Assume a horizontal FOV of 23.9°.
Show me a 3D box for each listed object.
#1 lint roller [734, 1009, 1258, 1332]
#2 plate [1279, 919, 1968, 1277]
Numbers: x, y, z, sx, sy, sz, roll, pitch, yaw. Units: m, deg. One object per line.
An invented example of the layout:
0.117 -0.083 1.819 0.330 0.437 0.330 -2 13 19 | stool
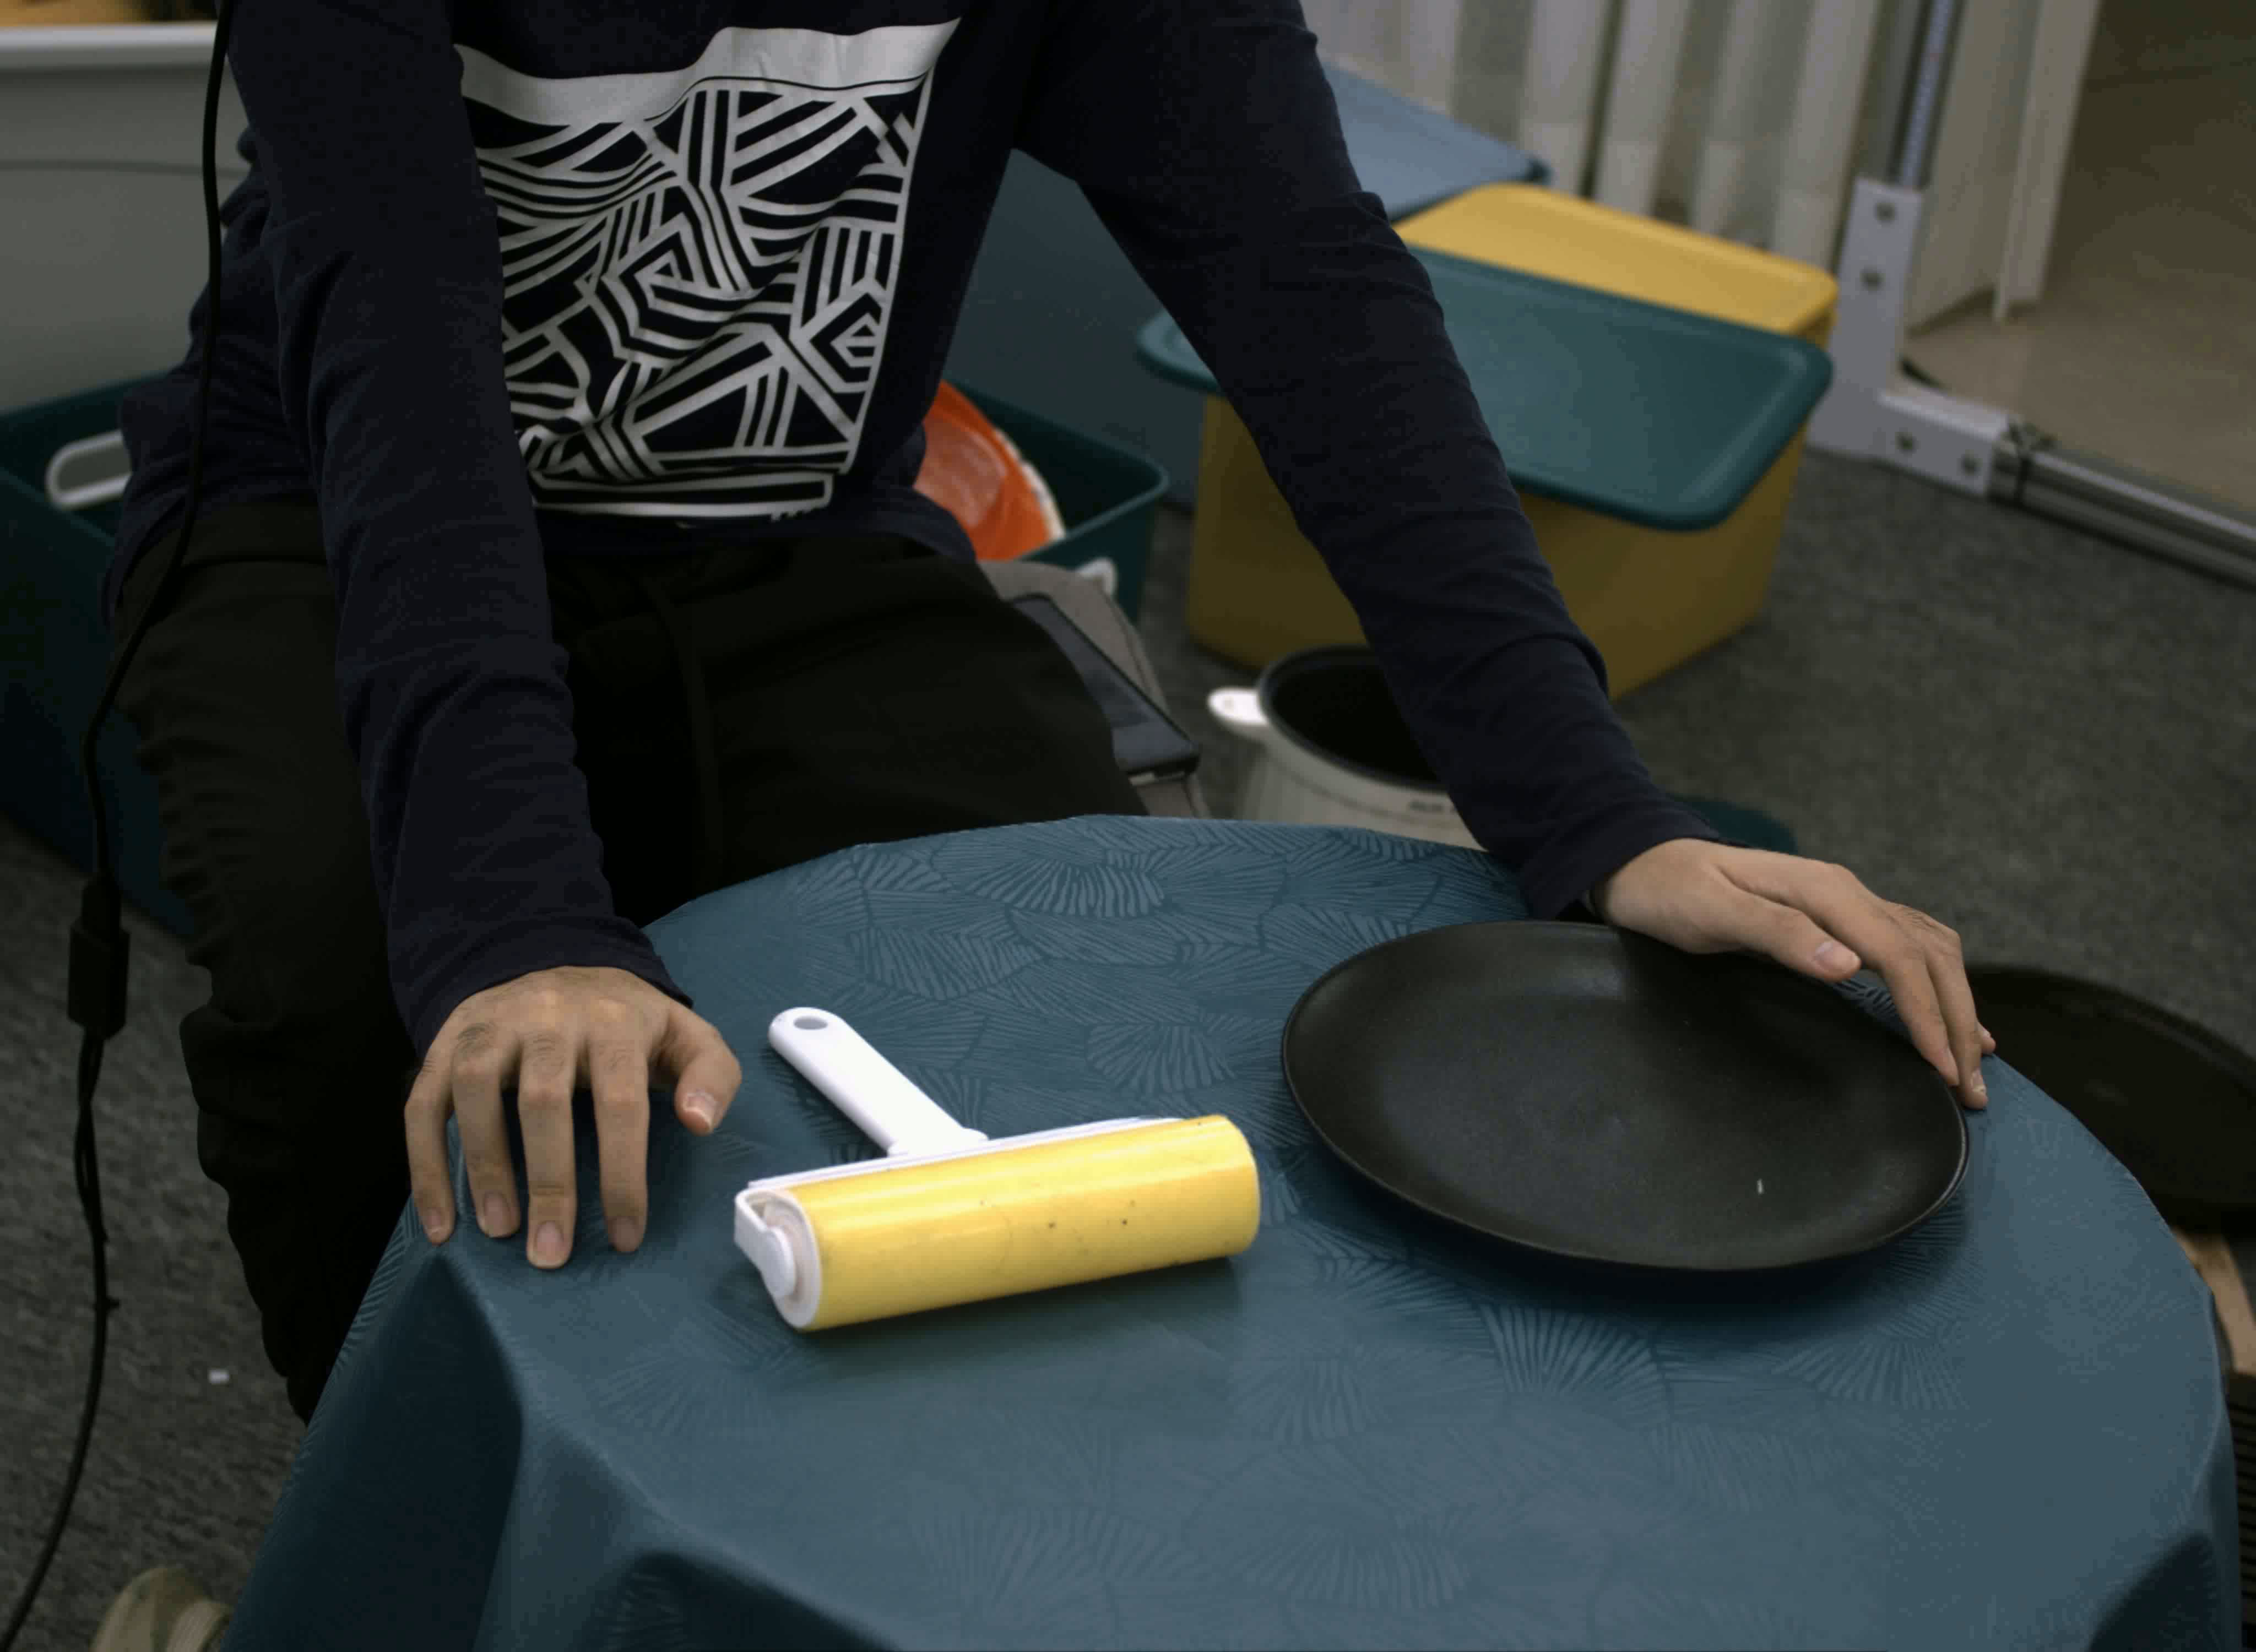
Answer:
-0.073 0.097 1.789 0.173 0.051 0.194 -8 33 -28 | lint roller
0.172 0.099 1.868 0.243 0.023 0.246 5 27 -3 | plate
